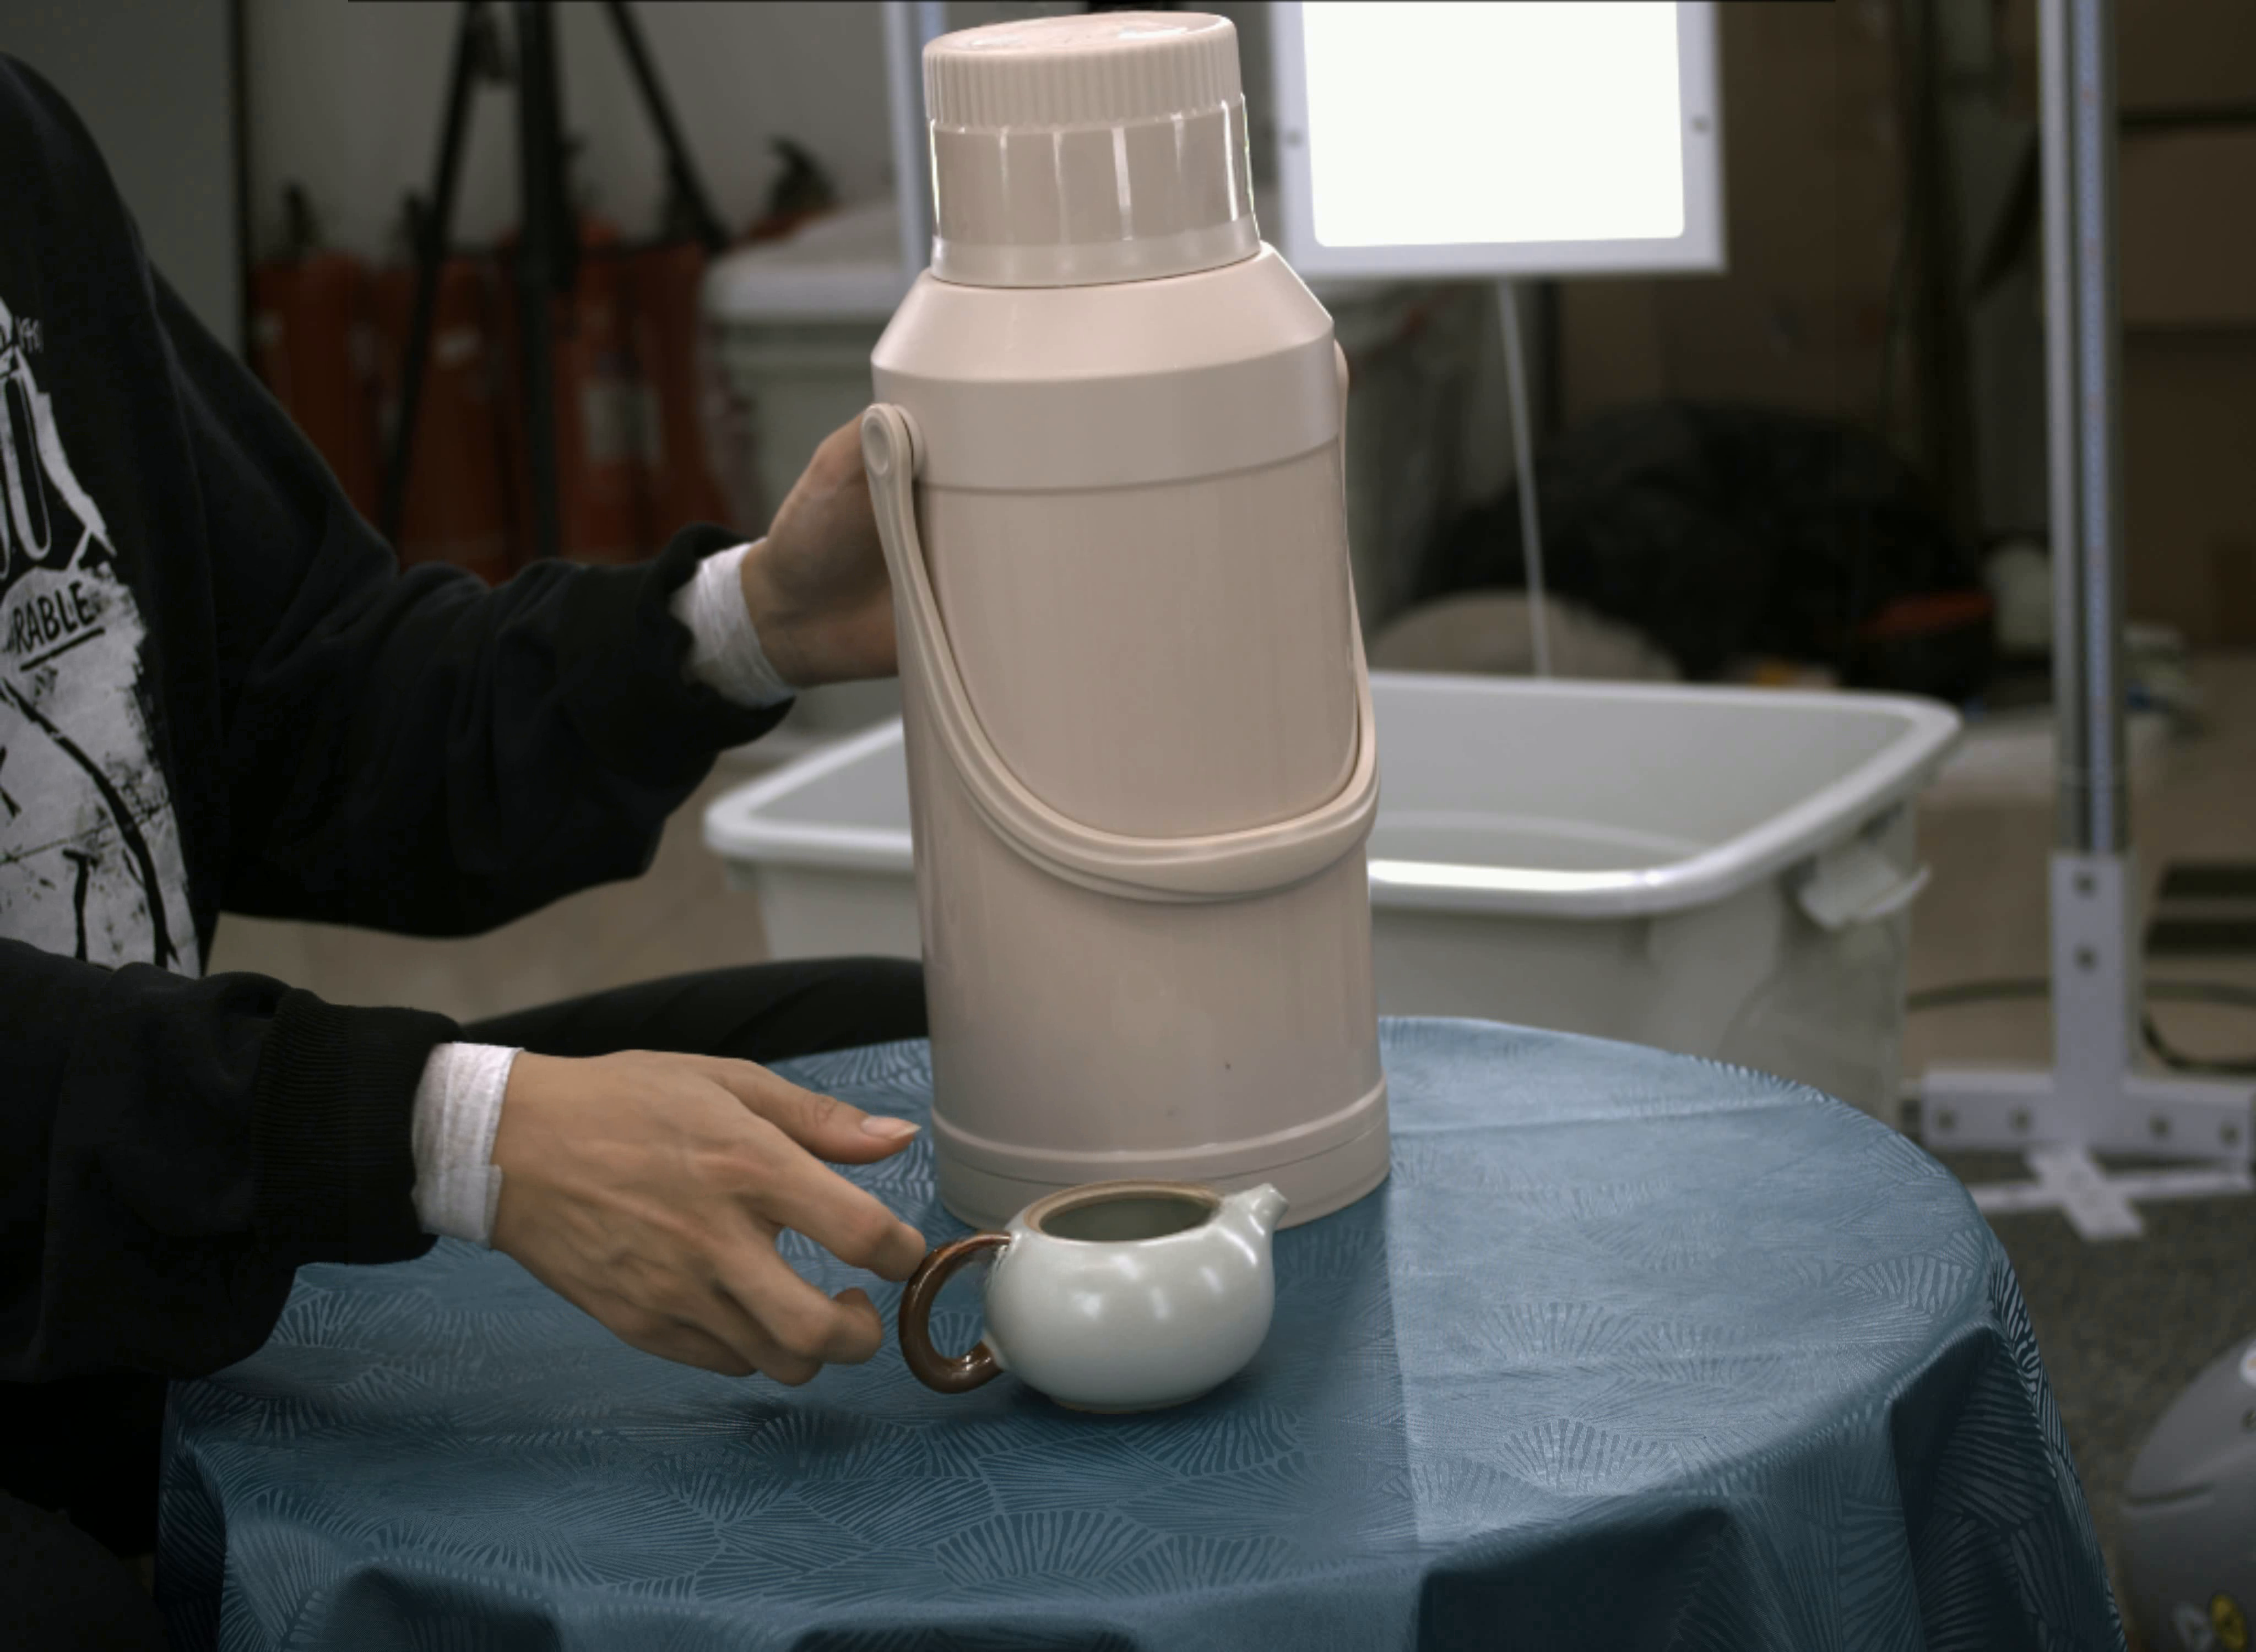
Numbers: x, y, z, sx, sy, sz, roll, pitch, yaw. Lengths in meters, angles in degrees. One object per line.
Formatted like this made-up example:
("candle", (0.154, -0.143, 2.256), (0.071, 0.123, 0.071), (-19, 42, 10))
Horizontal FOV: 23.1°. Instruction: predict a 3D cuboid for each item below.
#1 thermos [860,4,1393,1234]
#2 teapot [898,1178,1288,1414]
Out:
("thermos", (-0.008, -0.072, 1.877), (0.171, 0.408, 0.211), (-14, 17, -27))
("teapot", (-0.009, 0.146, 1.700), (0.126, 0.060, 0.093), (-8, 17, -16))
